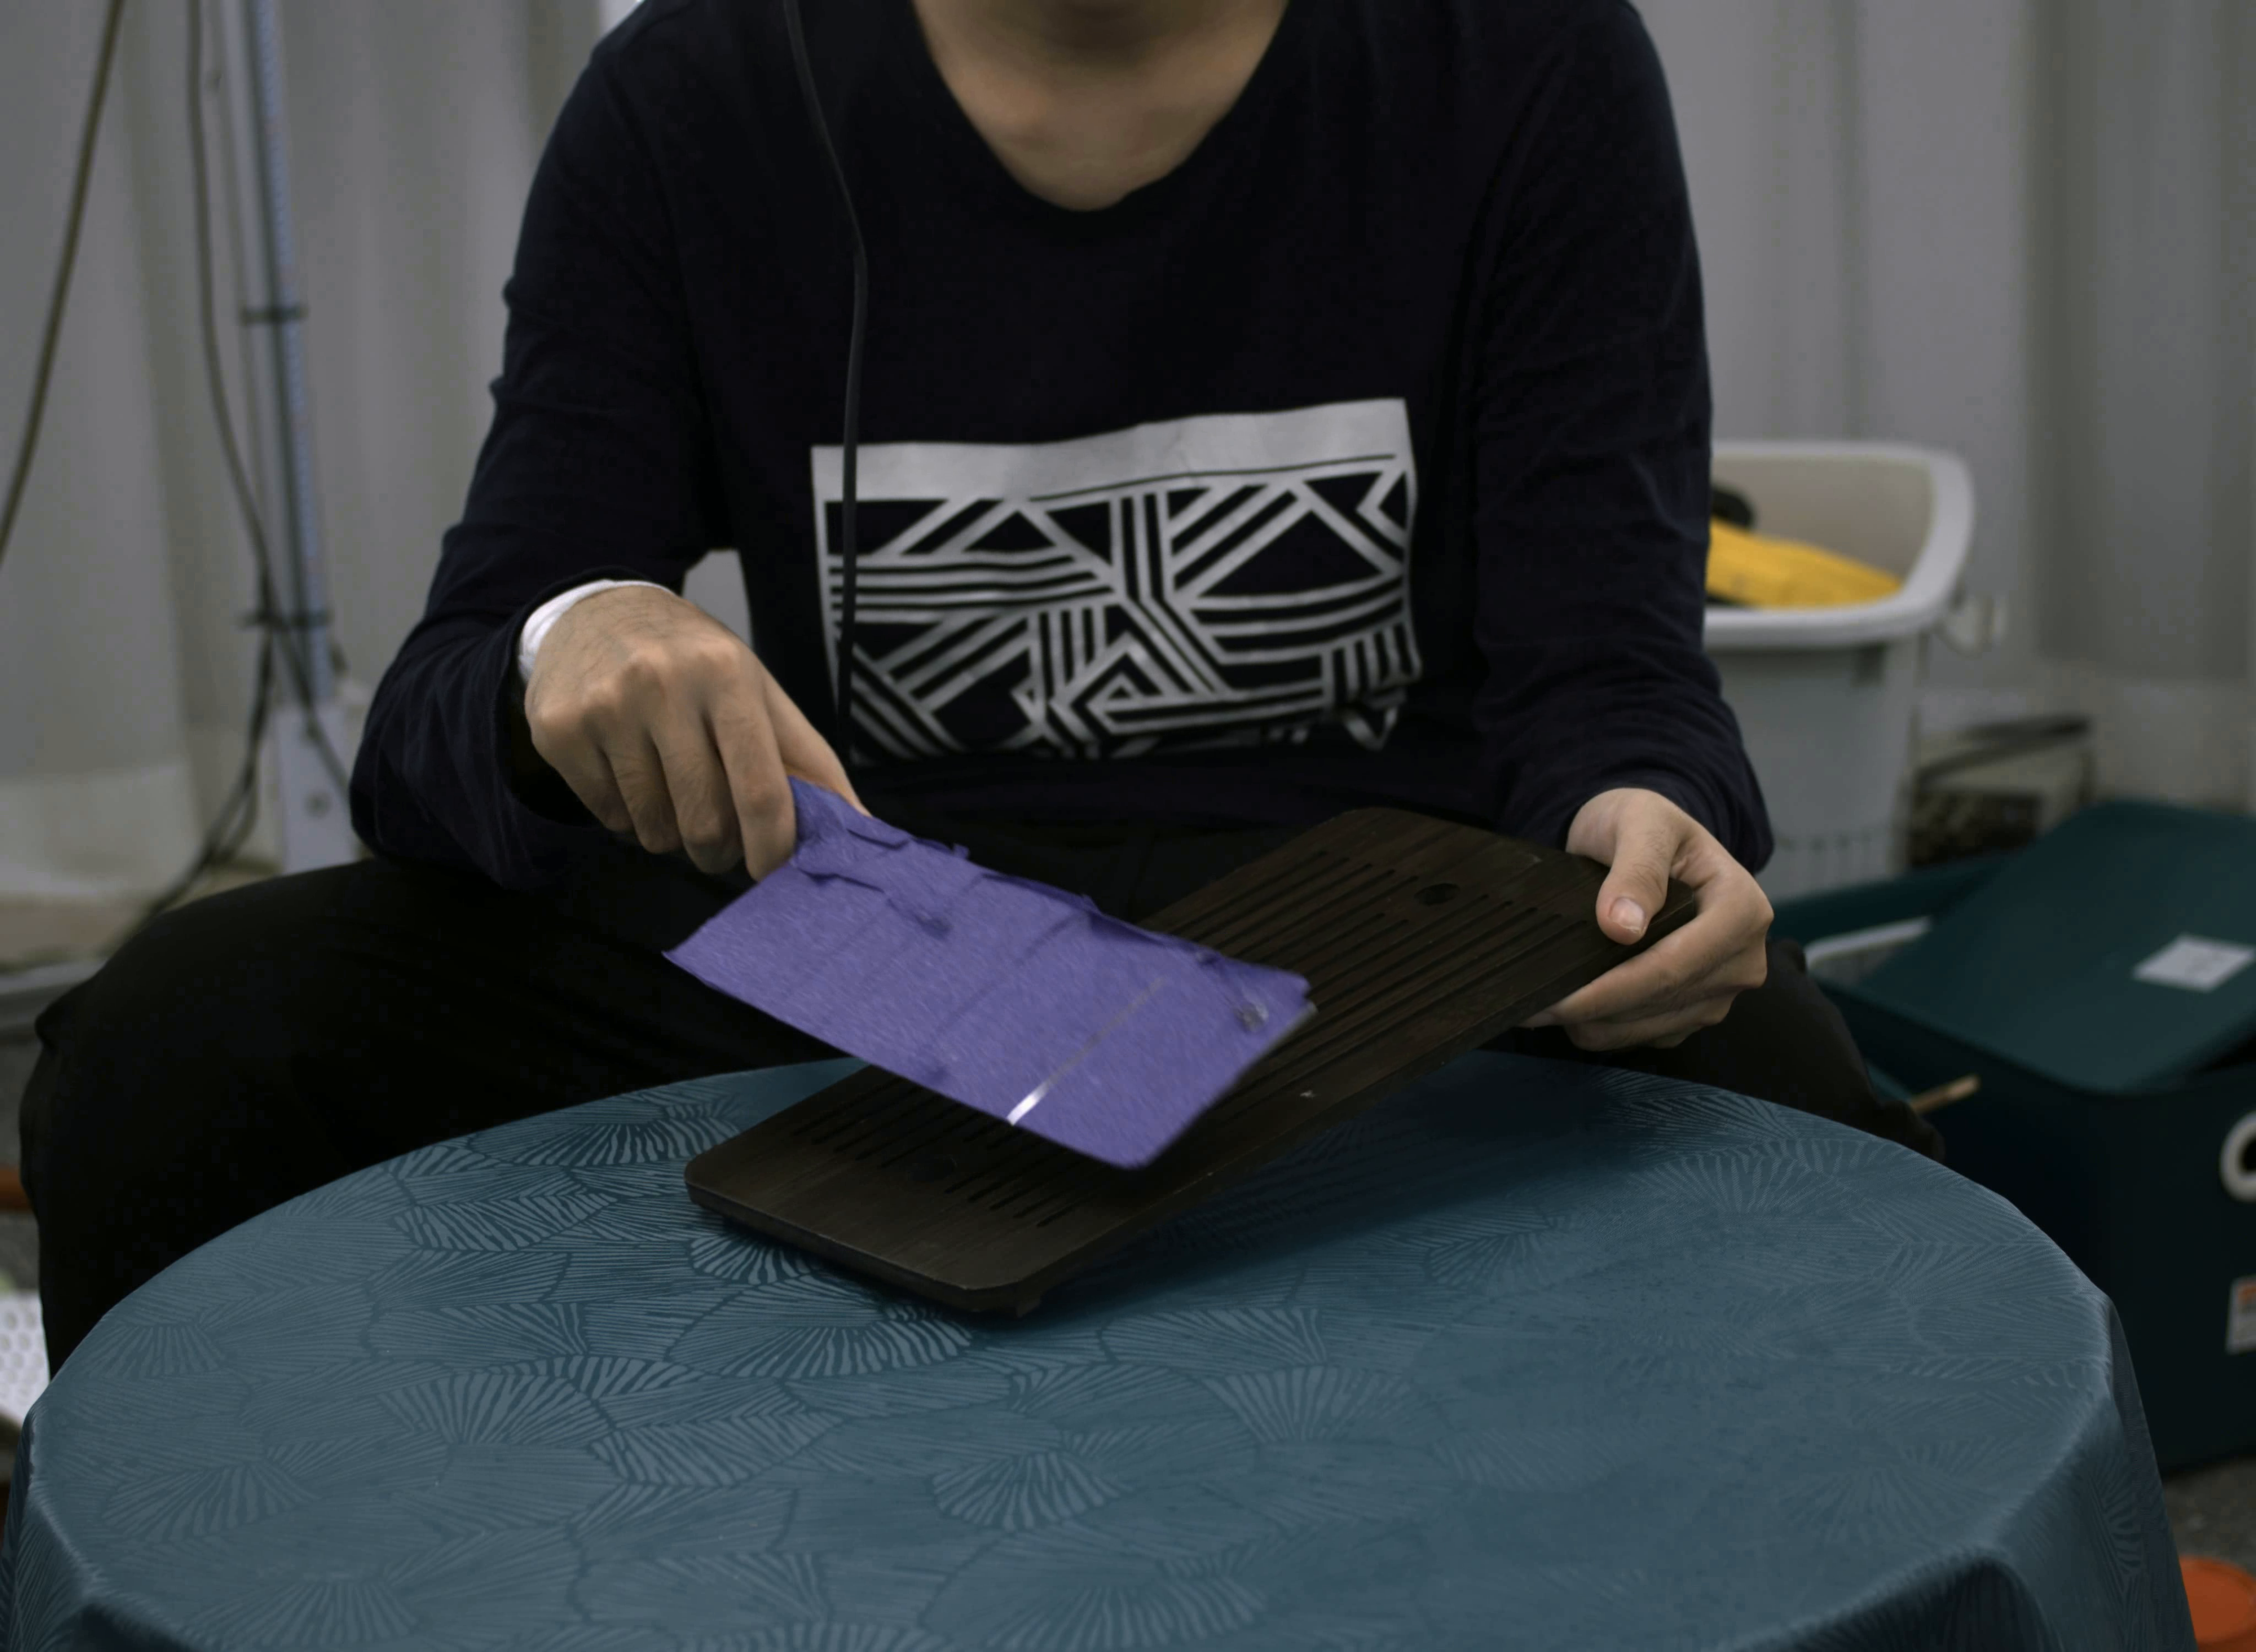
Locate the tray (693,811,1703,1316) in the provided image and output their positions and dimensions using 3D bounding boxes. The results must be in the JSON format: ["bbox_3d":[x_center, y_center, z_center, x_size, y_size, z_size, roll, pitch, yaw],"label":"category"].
[{"bbox_3d":[0.025,0.072,1.732,0.306,0.018,0.171,-27,25,-33],"label":"tray"}]

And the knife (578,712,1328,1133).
[{"bbox_3d":[-0.084,0.028,1.736,0.317,0.032,0.104,18,45,41],"label":"knife"}]
